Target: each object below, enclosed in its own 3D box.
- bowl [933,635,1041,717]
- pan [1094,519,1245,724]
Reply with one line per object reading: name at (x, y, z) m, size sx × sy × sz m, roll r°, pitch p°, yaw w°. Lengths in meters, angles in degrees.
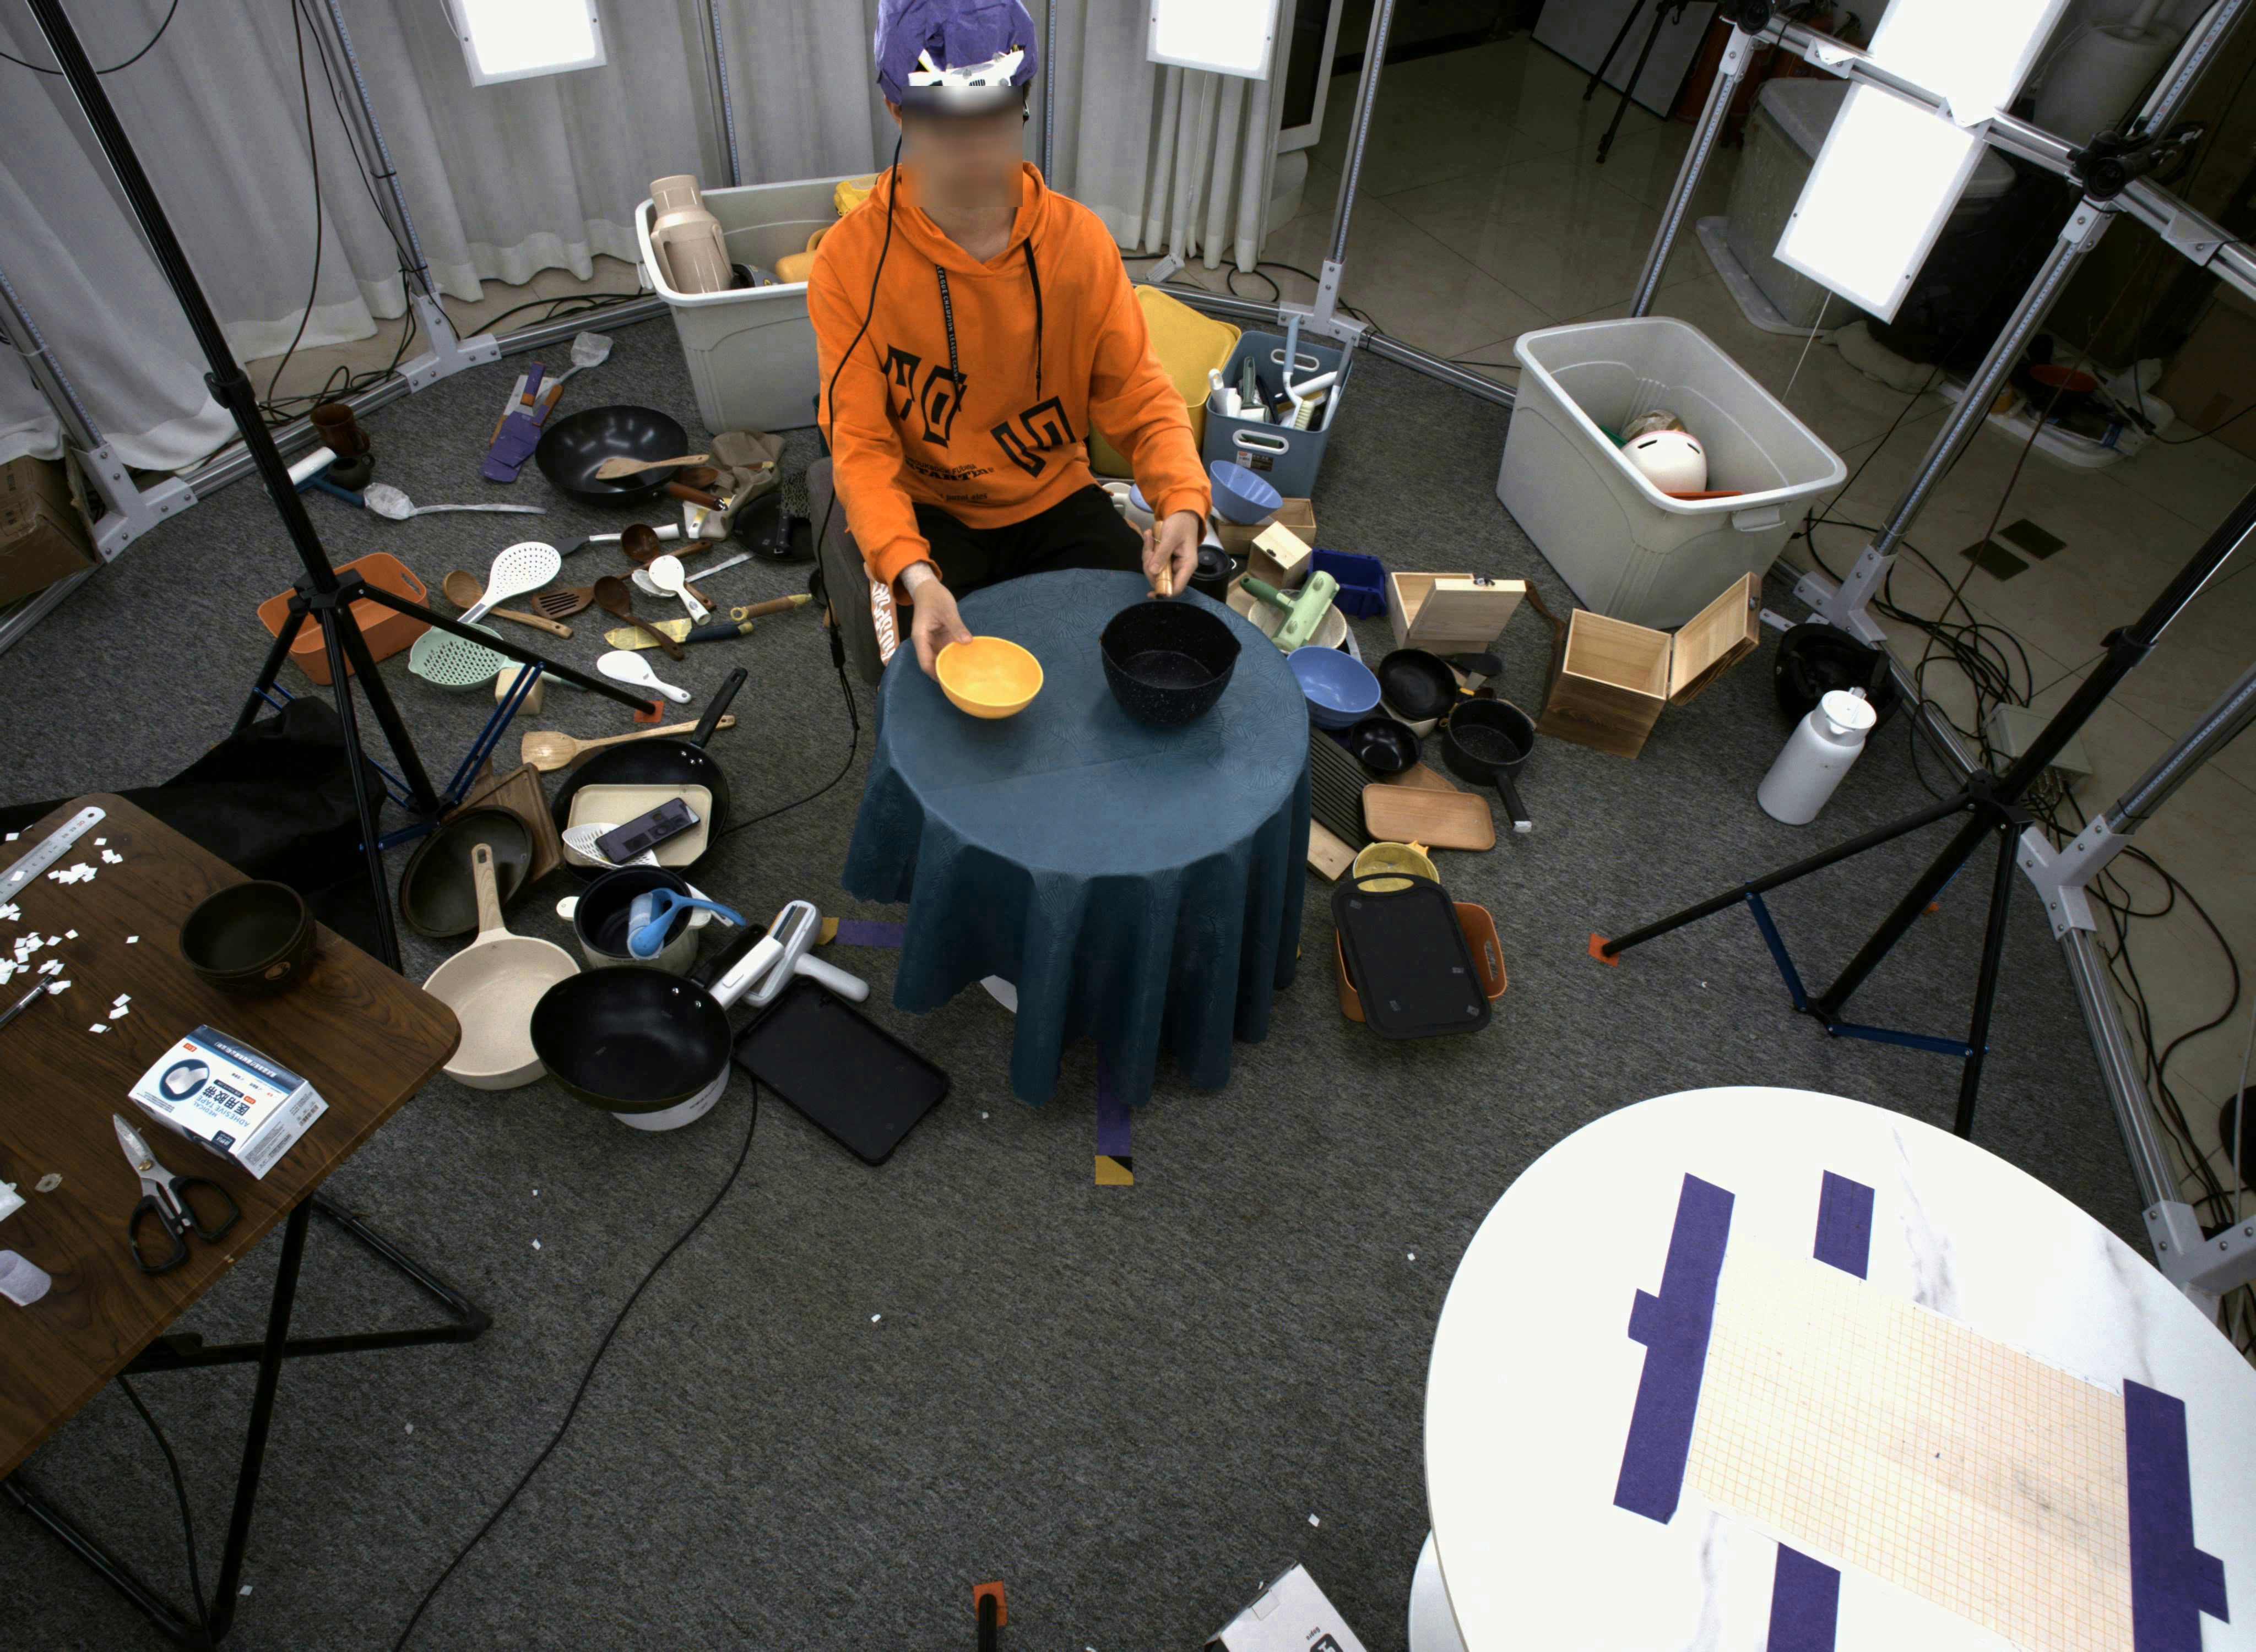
bowl at (-0.194, -0.191, 1.741) m, size 0.145 × 0.059 × 0.149 m, roll 9°, pitch 43°, yaw -8°
pan at (0.051, -0.292, 1.834) m, size 0.207 × 0.105 × 0.351 m, roll 0°, pitch 49°, yaw -4°
